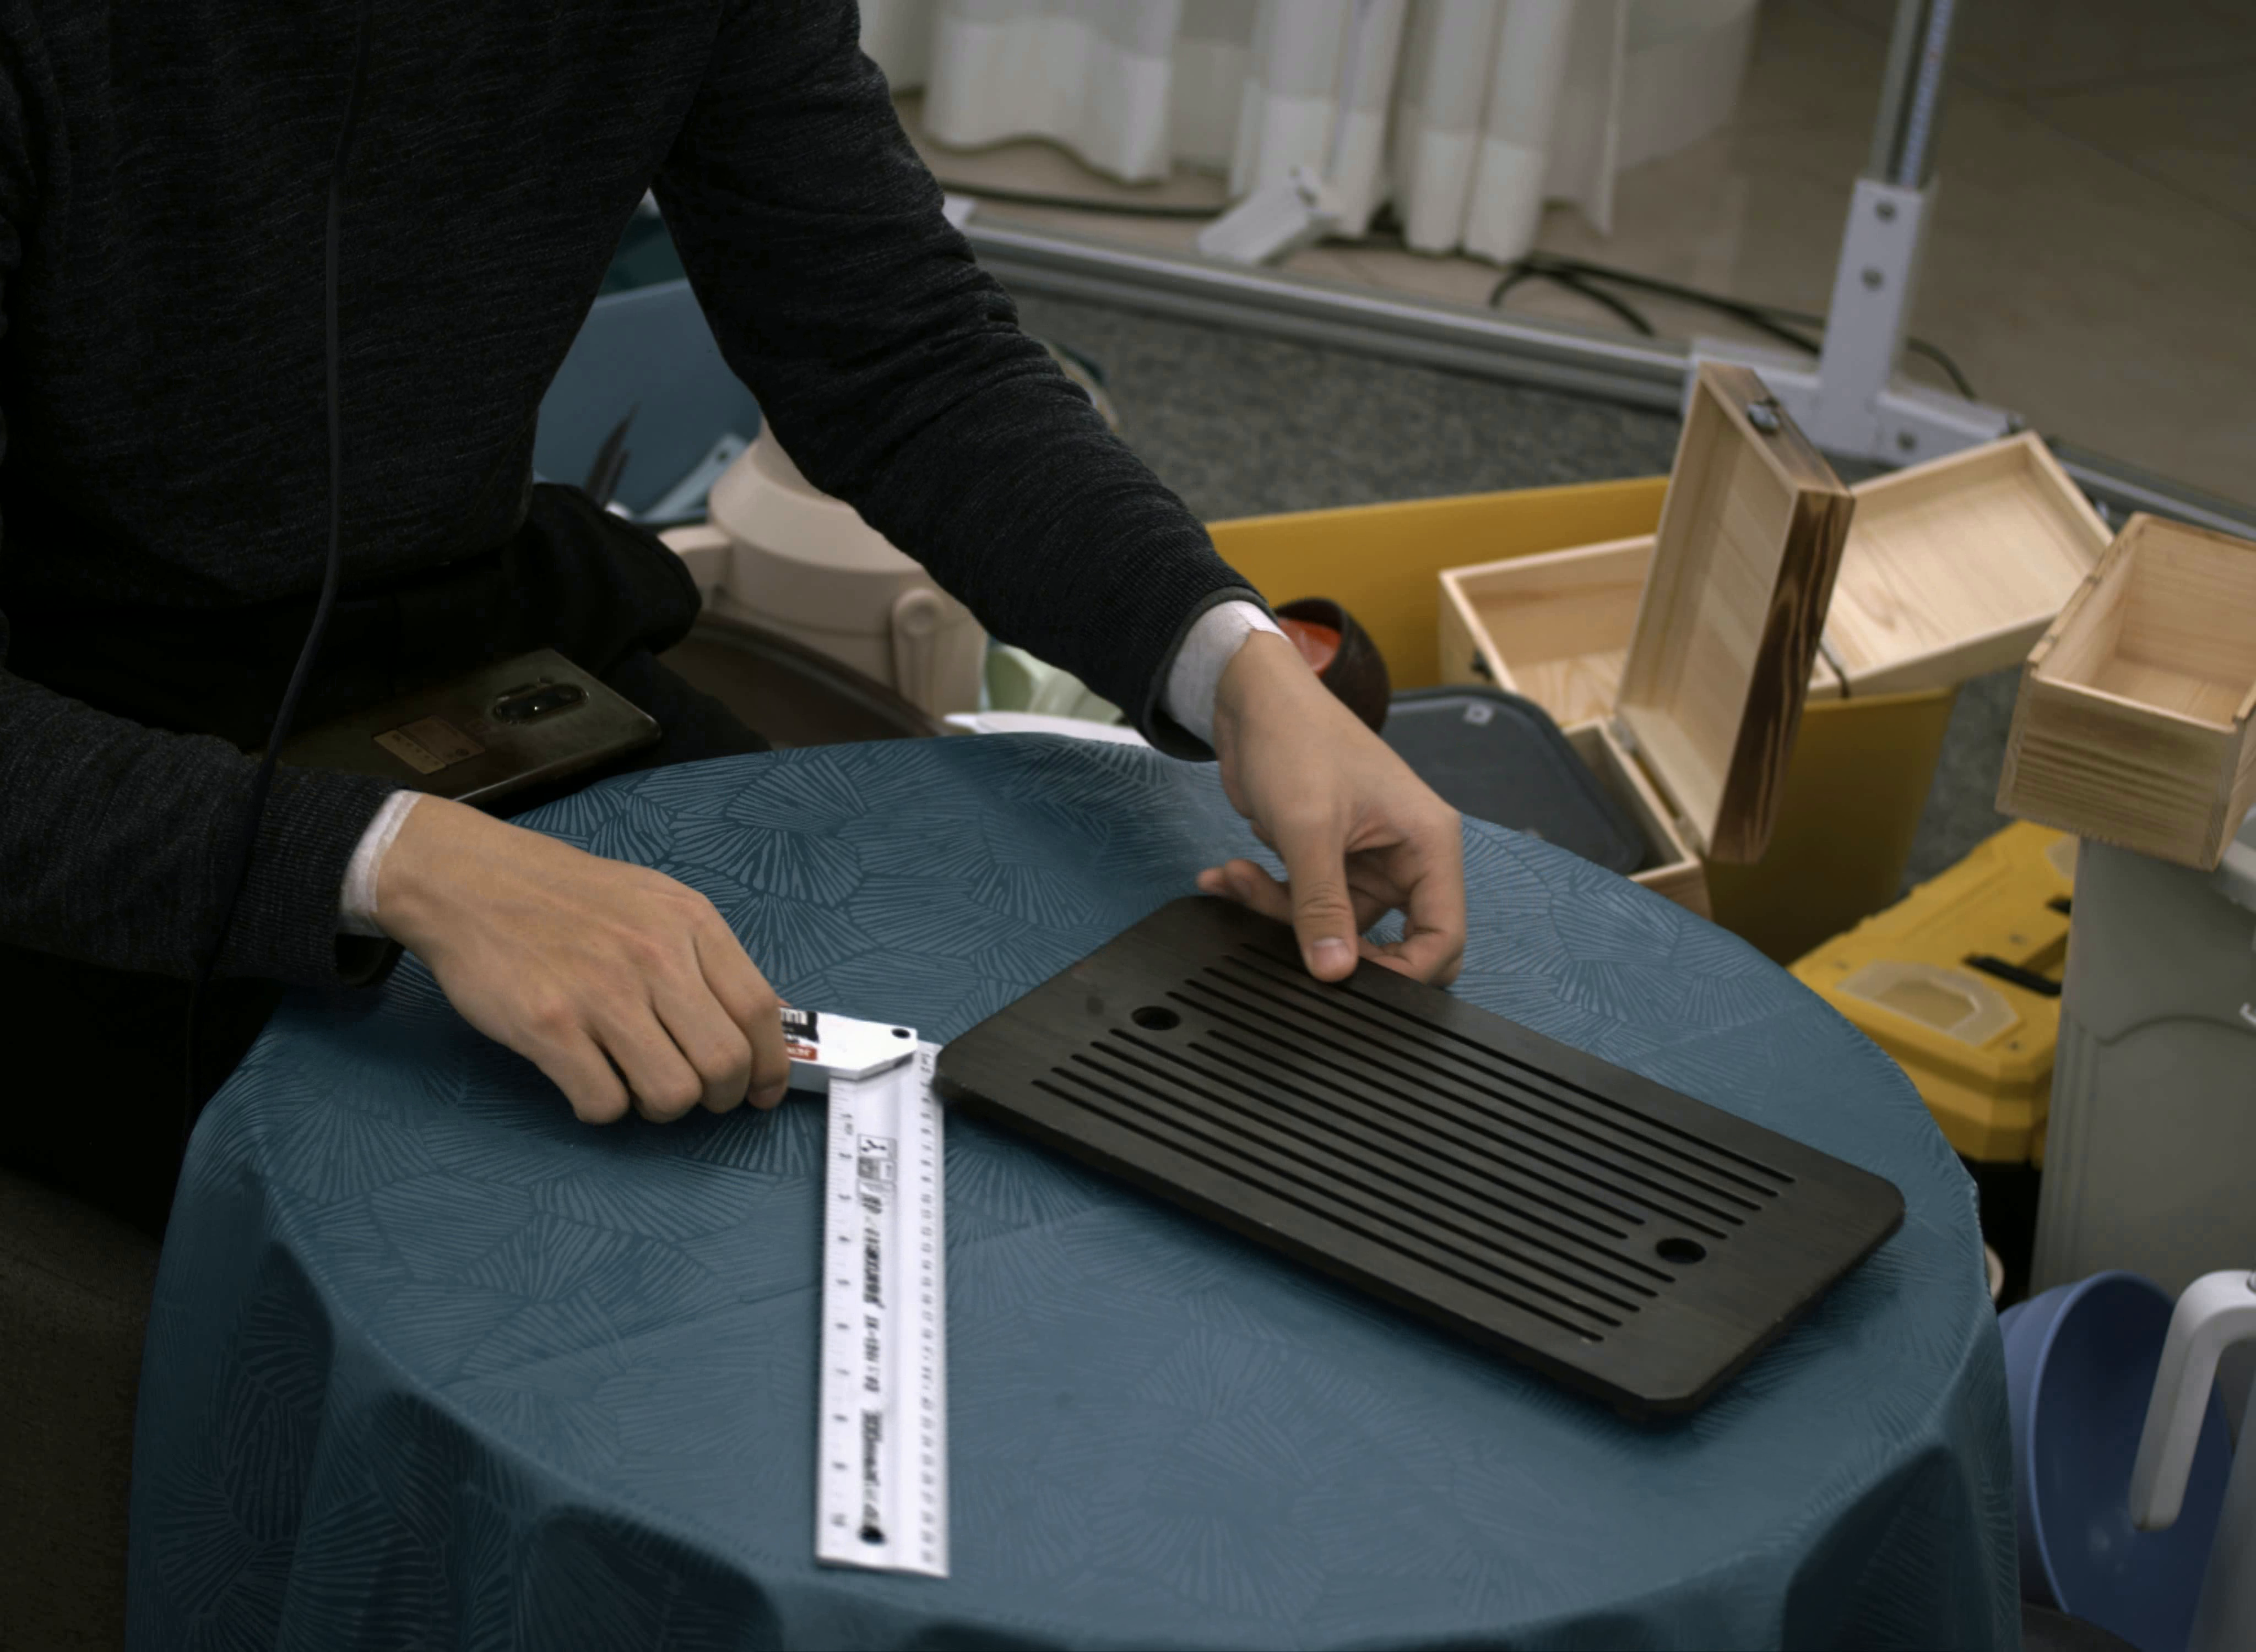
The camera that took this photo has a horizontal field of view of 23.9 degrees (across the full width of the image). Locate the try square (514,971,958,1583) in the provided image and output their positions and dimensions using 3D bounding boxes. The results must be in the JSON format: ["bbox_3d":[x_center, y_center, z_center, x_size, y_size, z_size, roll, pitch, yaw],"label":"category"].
[{"bbox_3d":[-0.130,0.140,1.717,0.151,0.016,0.315,9,28,-7],"label":"try square"}]

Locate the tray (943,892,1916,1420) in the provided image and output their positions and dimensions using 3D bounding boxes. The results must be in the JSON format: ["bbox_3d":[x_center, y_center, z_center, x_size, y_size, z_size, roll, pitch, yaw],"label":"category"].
[{"bbox_3d":[0.101,0.110,1.826,0.308,0.018,0.169,23,34,30],"label":"tray"}]
